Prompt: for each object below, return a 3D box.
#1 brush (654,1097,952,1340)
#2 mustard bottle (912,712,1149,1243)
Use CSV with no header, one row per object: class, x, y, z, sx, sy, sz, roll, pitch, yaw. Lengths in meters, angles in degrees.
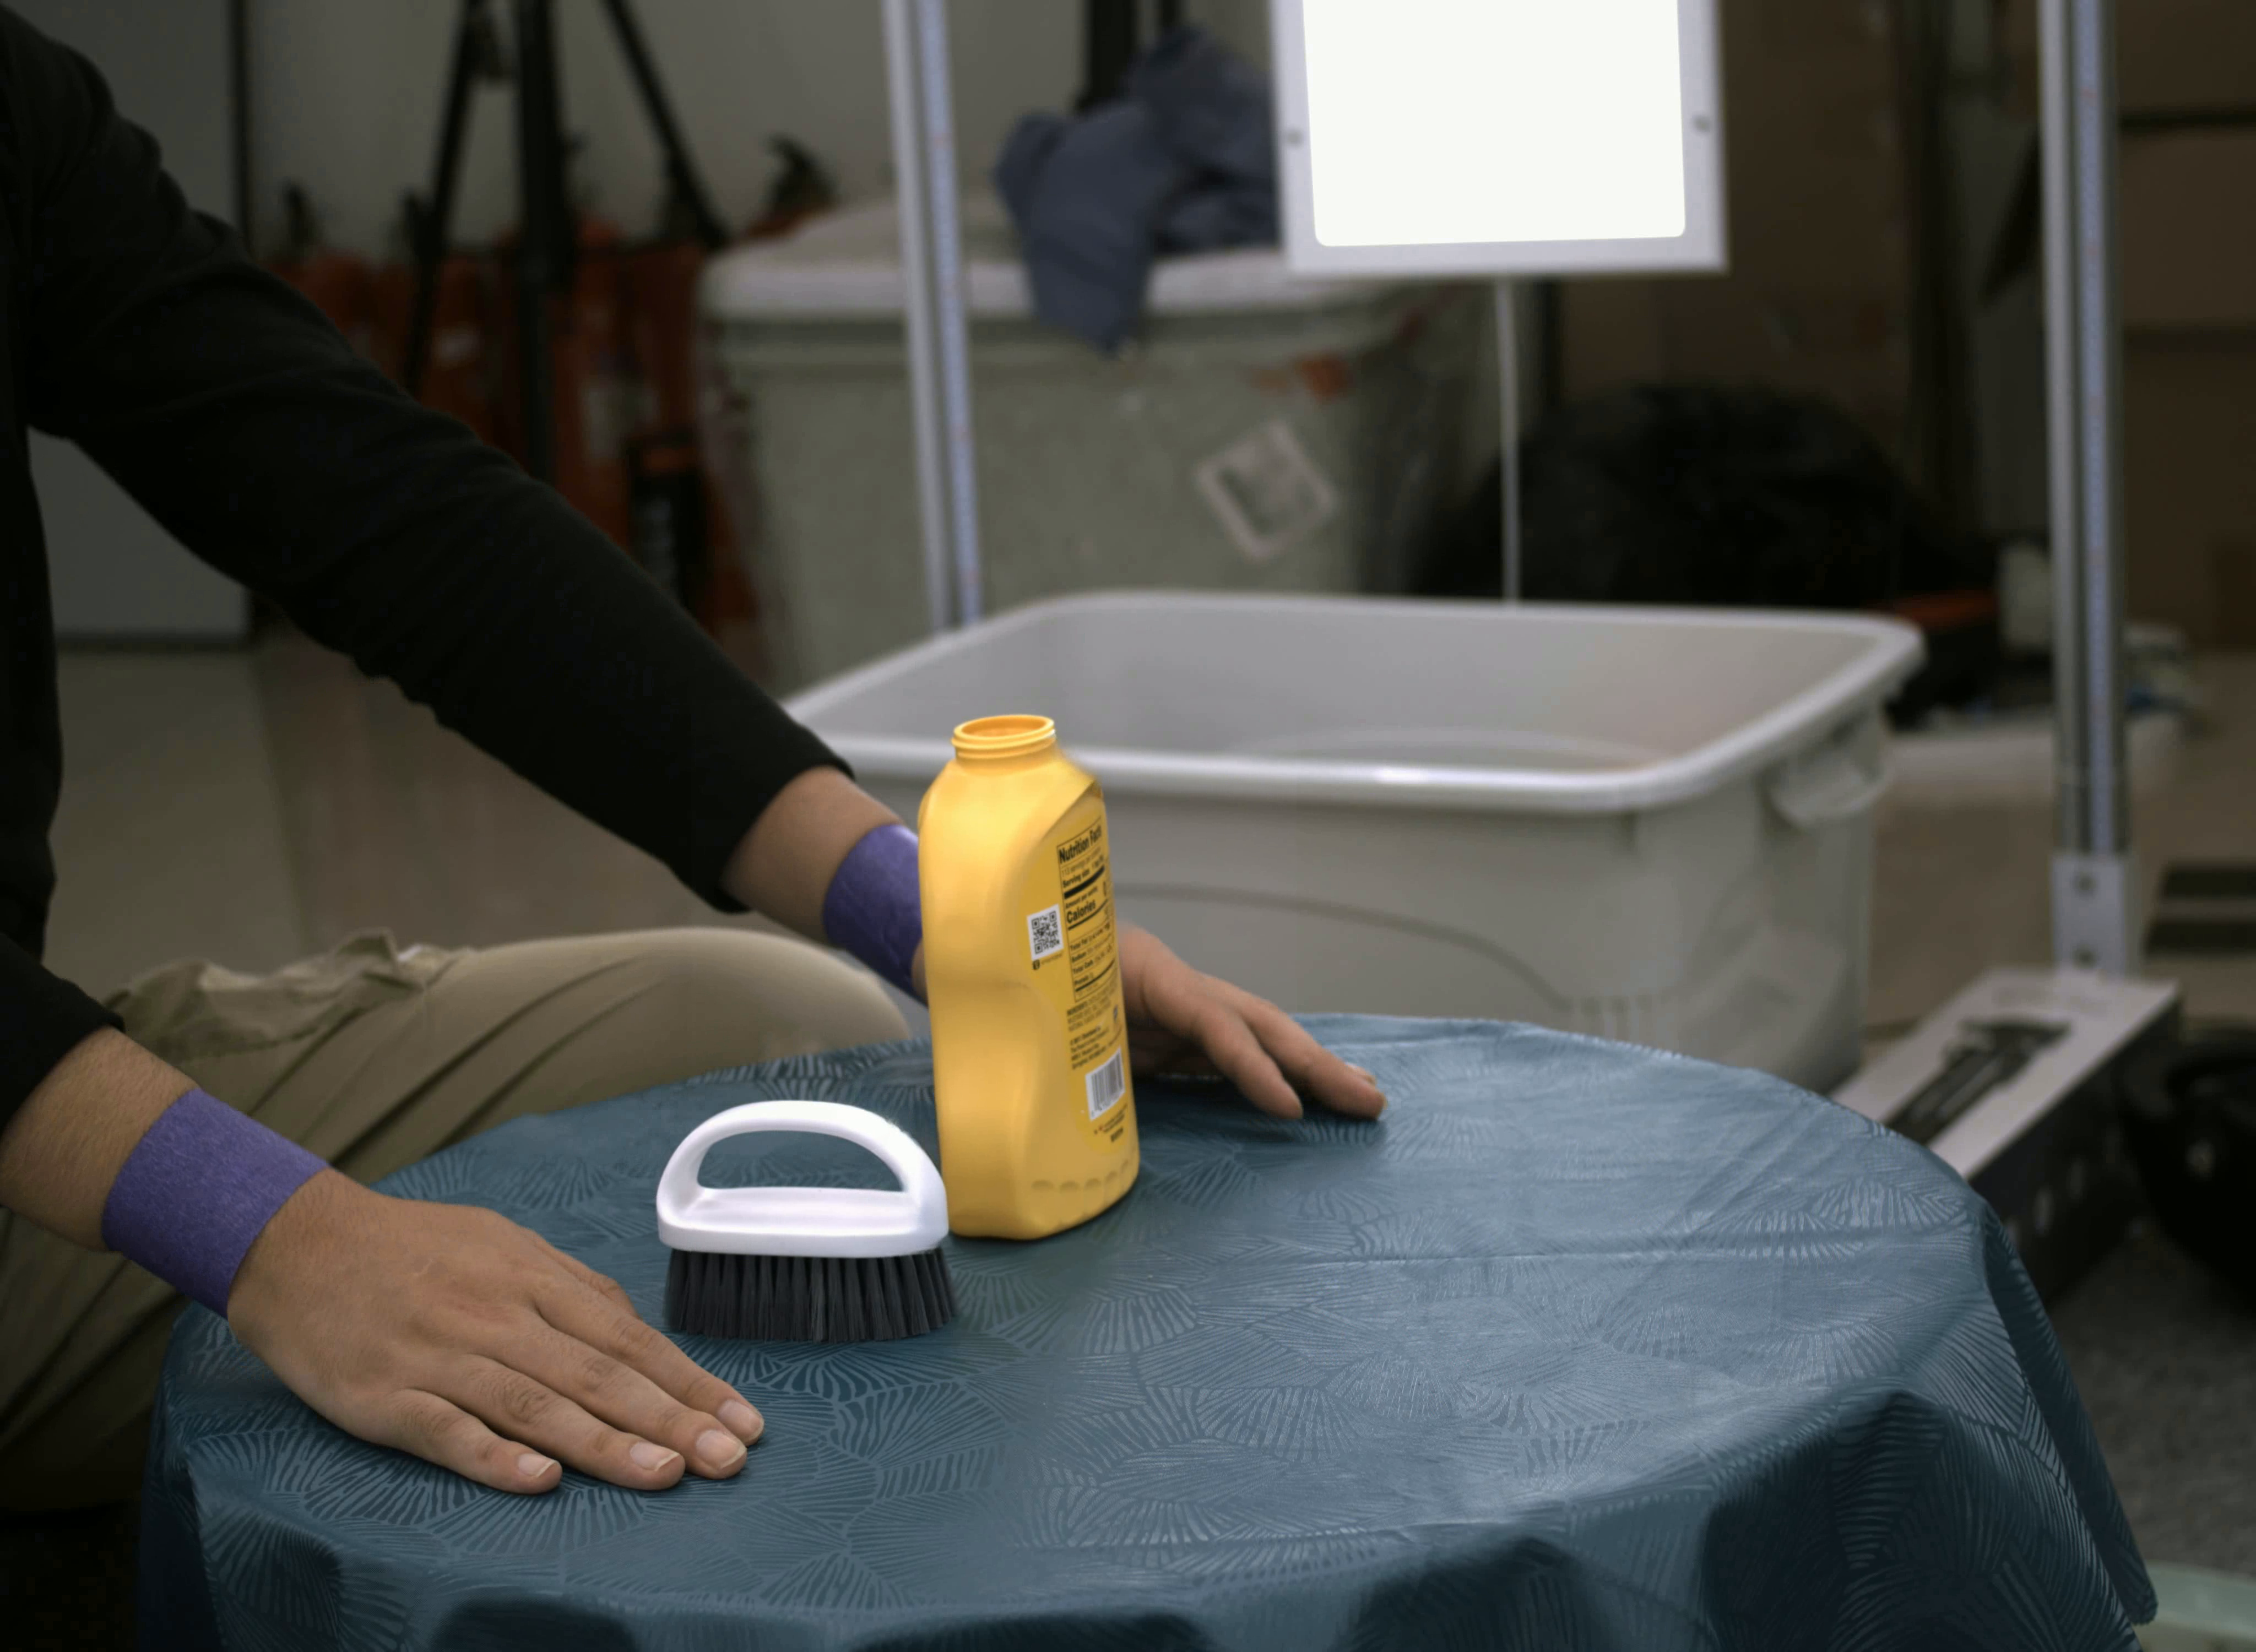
brush,-0.107,0.124,1.789,0.100,0.073,0.049,2,14,22
mustard bottle,-0.035,0.049,1.870,0.060,0.172,0.096,-1,16,24
